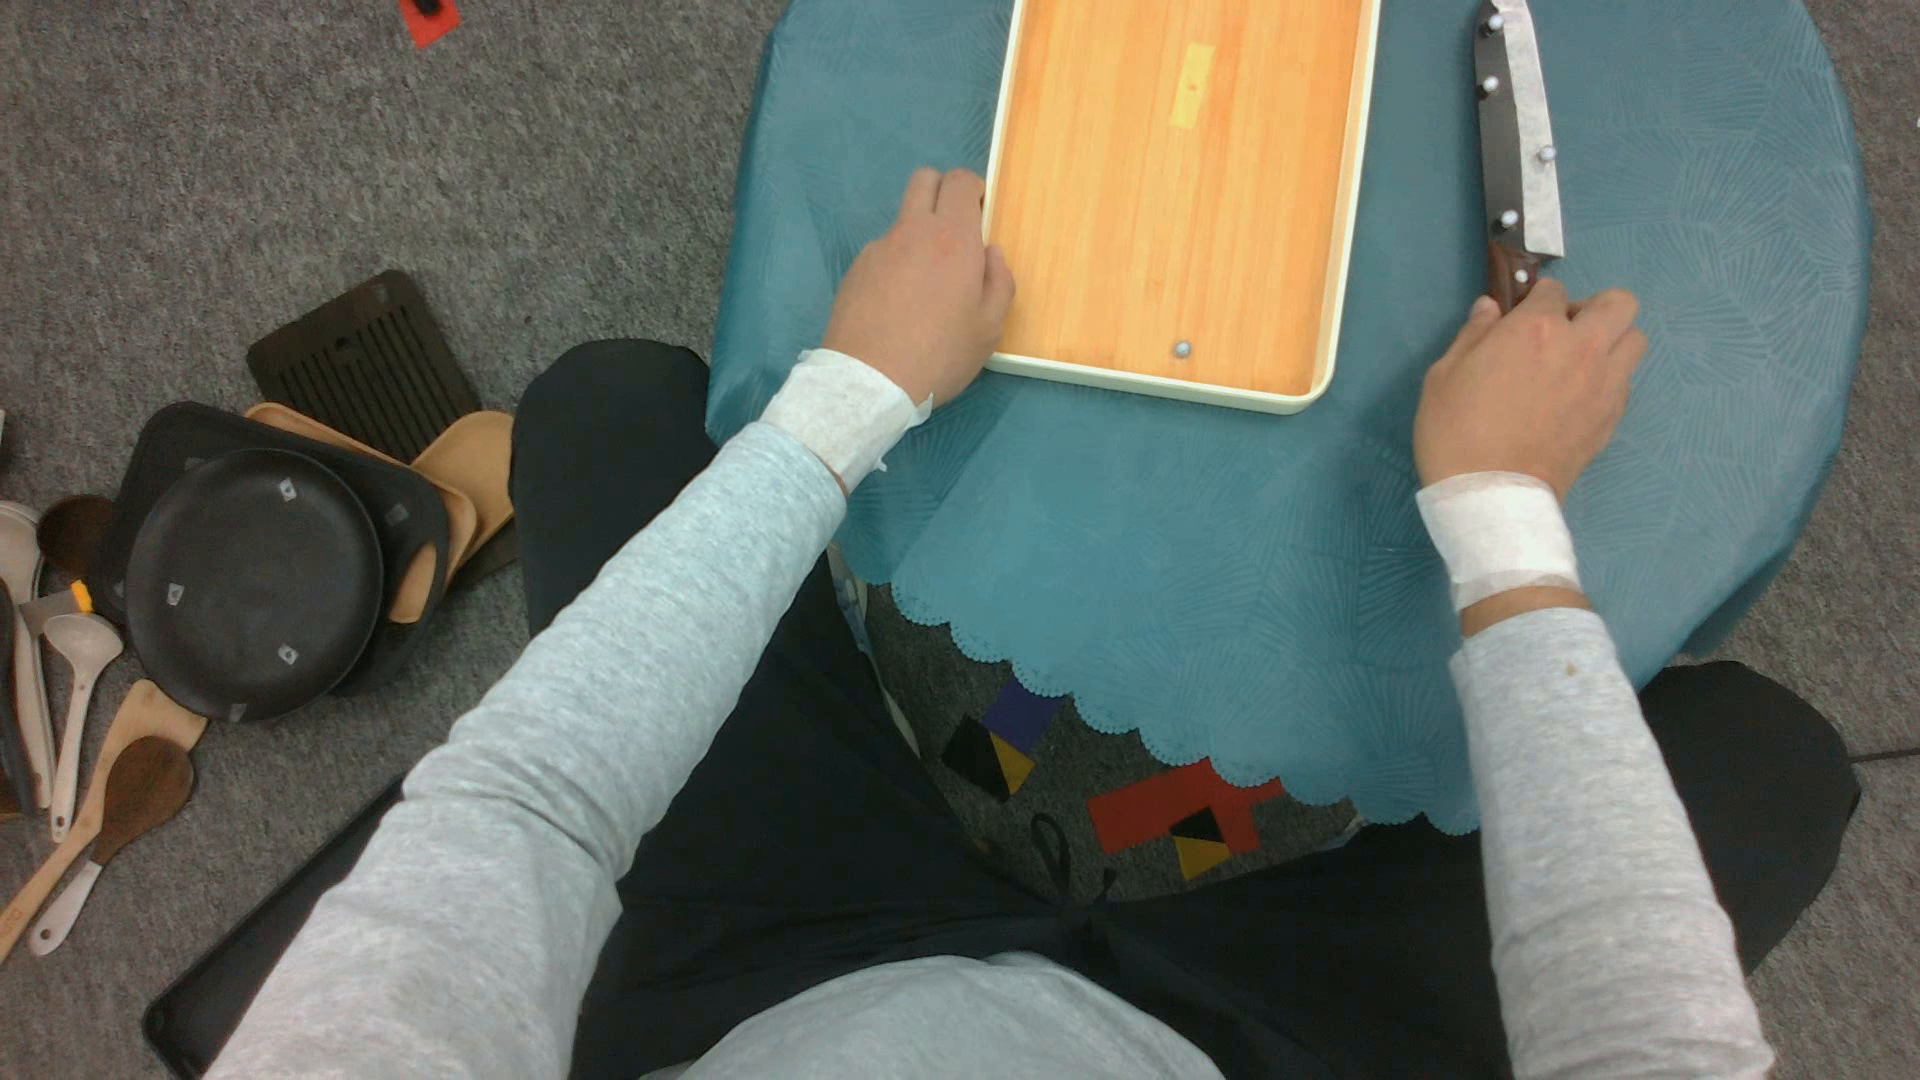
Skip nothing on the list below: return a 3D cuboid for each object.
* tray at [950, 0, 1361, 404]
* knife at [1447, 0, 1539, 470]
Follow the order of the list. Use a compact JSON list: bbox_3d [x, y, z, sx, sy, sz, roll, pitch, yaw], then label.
[{"bbox_3d":[0.109,-0.229,0.737,0.191,0.027,0.301,9,80,2],"label":"tray"},{"bbox_3d":[0.284,-0.175,0.730,0.050,0.020,0.290,6,76,-10],"label":"knife"}]
